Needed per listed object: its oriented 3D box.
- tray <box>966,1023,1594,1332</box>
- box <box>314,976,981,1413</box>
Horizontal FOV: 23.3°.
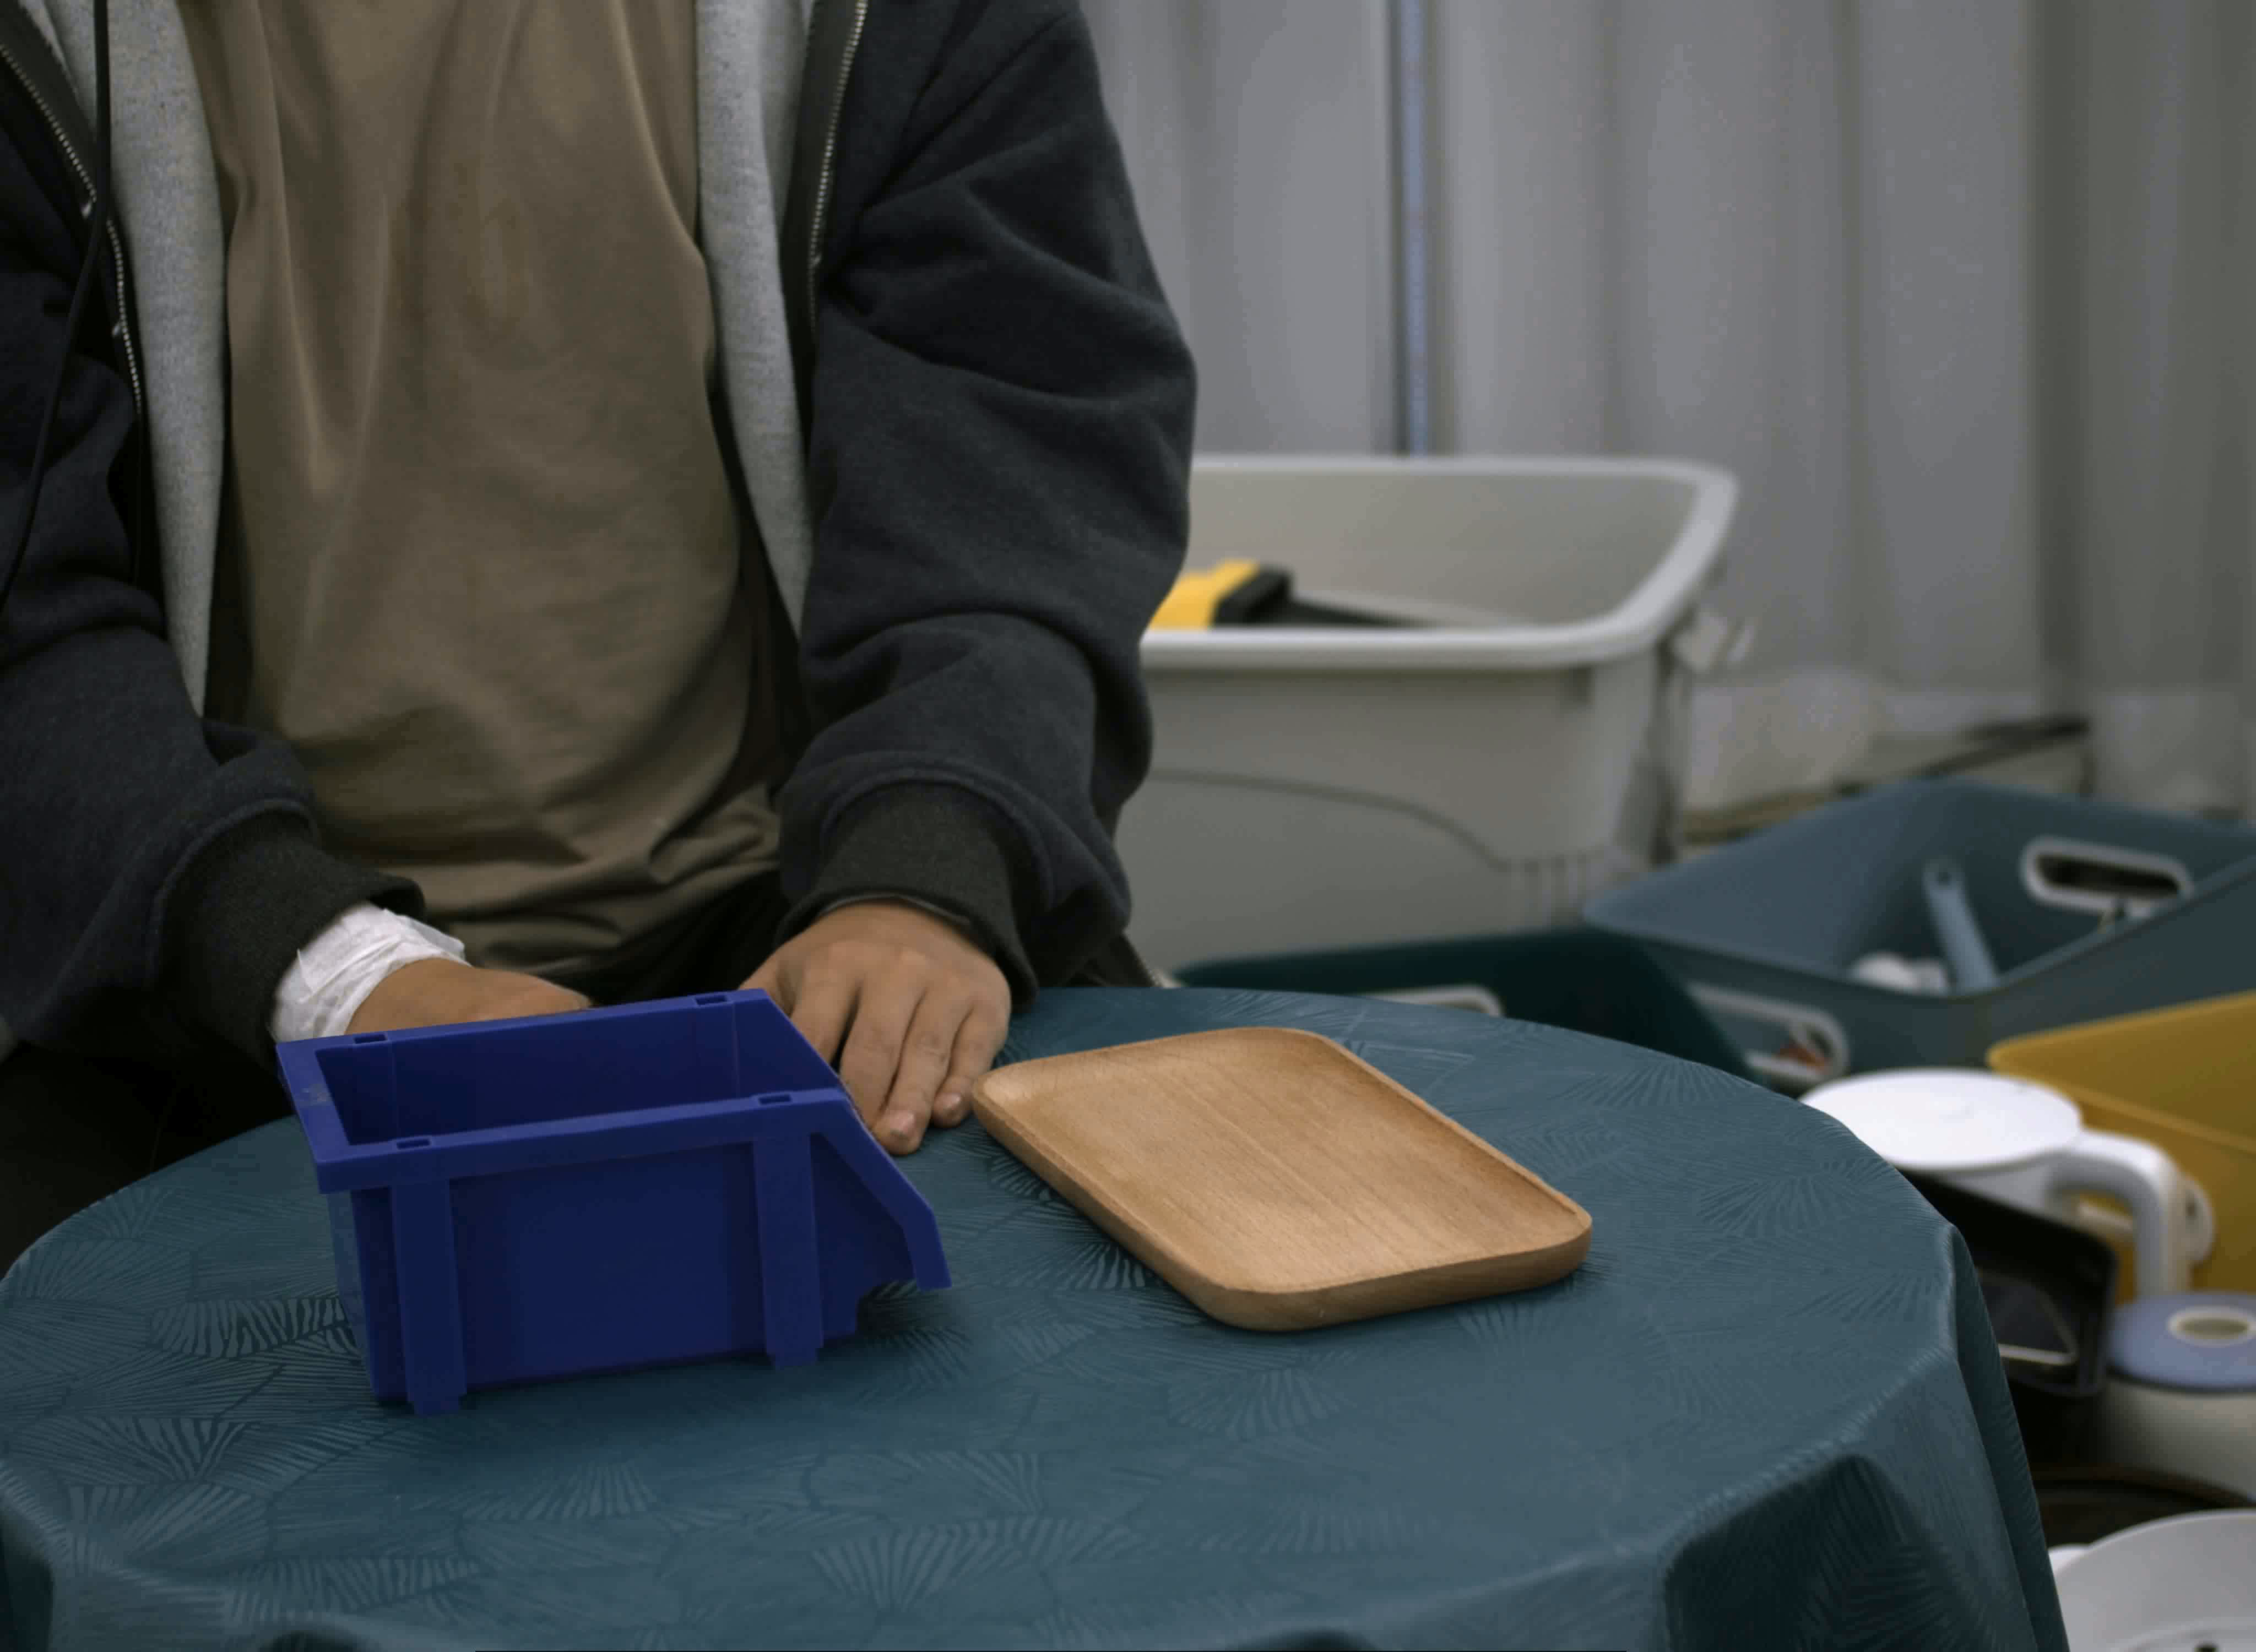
[{"bbox_3d":[0.043,0.107,1.704,0.130,0.023,0.252,-6,14,-19],"label":"tray"},{"bbox_3d":[-0.143,0.106,1.620,0.179,0.081,0.125,-9,15,-10],"label":"box"}]
